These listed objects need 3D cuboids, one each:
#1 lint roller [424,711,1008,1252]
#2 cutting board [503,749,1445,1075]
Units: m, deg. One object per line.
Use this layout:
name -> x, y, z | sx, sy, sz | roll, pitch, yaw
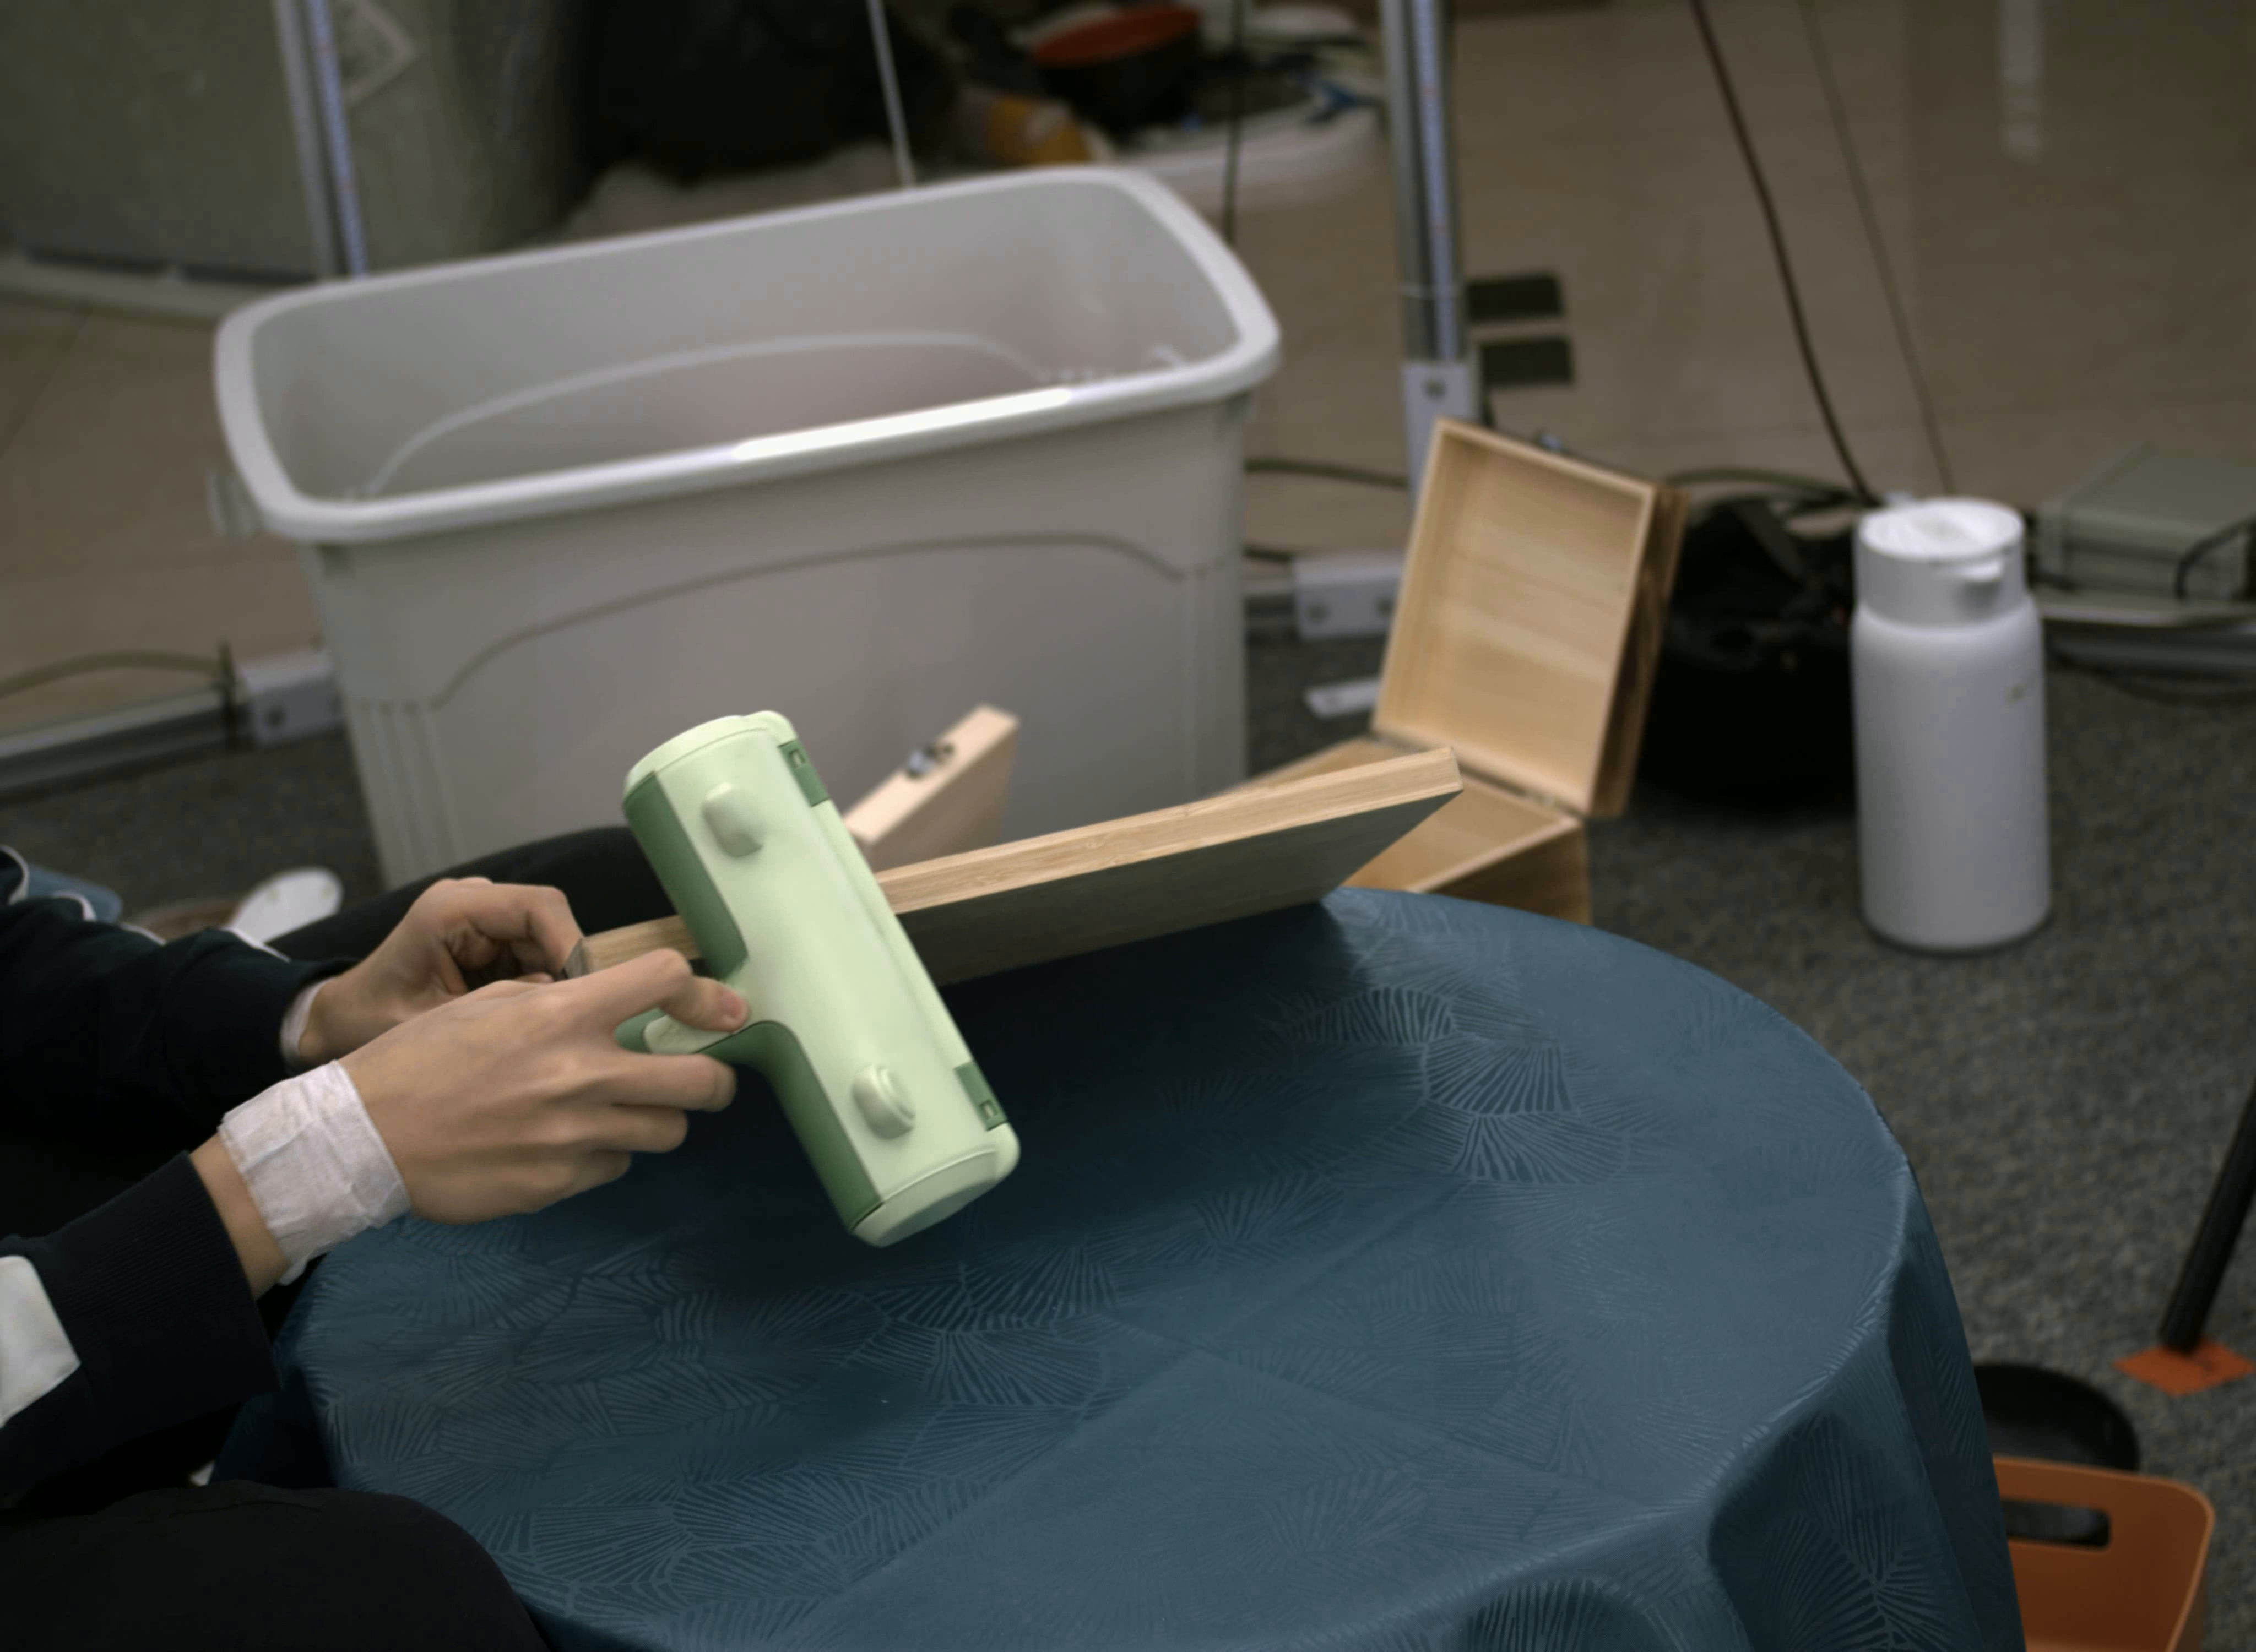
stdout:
lint roller -> -0.162, 0.074, 2.006 | 0.182, 0.198, 0.083 | -24, -10, -21
cutting board -> -0.064, 0.038, 2.203 | 0.347, 0.023, 0.252 | -12, -9, -14
